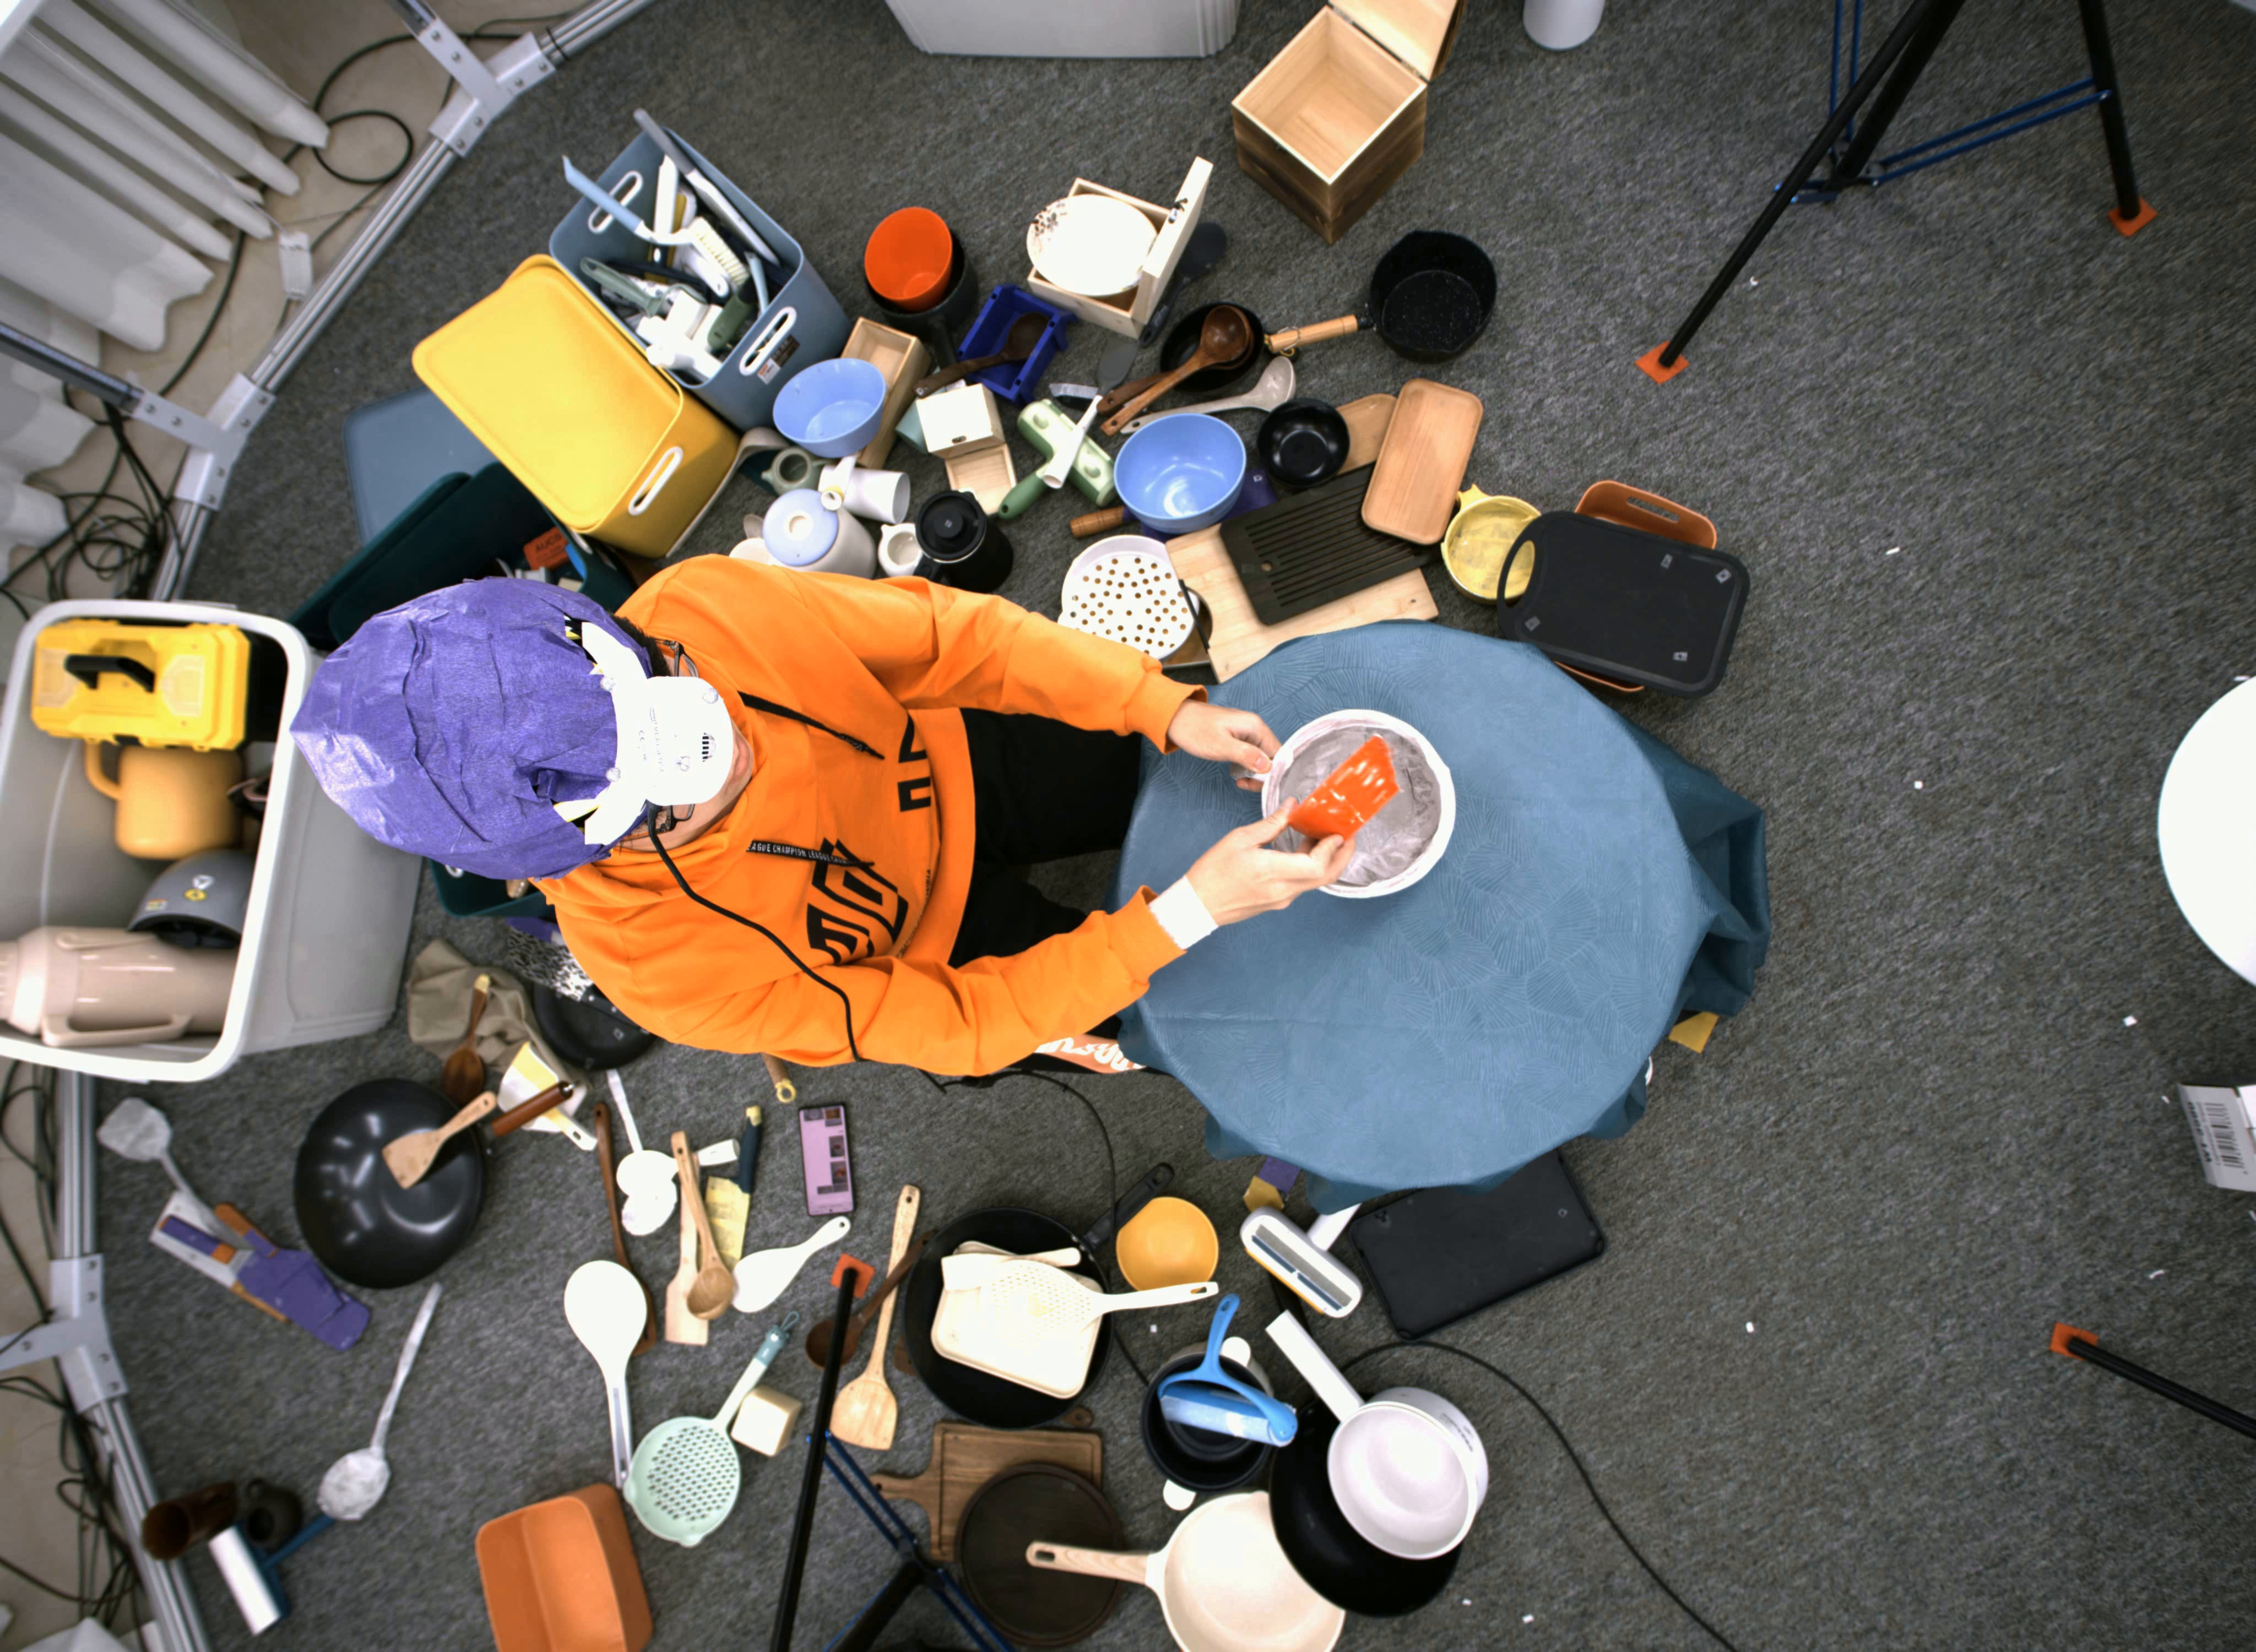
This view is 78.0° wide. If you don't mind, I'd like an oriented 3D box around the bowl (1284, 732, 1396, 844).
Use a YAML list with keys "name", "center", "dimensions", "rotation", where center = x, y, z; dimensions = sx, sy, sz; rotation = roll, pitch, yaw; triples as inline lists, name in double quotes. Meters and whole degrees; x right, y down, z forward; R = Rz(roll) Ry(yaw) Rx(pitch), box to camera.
- name: "bowl"
  center: [0.201, -0.027, 1.261]
  dimensions: [0.119, 0.119, 0.051]
  rotation: [-45, 84, 3]

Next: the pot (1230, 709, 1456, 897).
- name: "pot"
  center: [0.206, -0.028, 1.359]
  dimensions: [0.233, 0.136, 0.179]
  rotation: [20, 94, 15]
